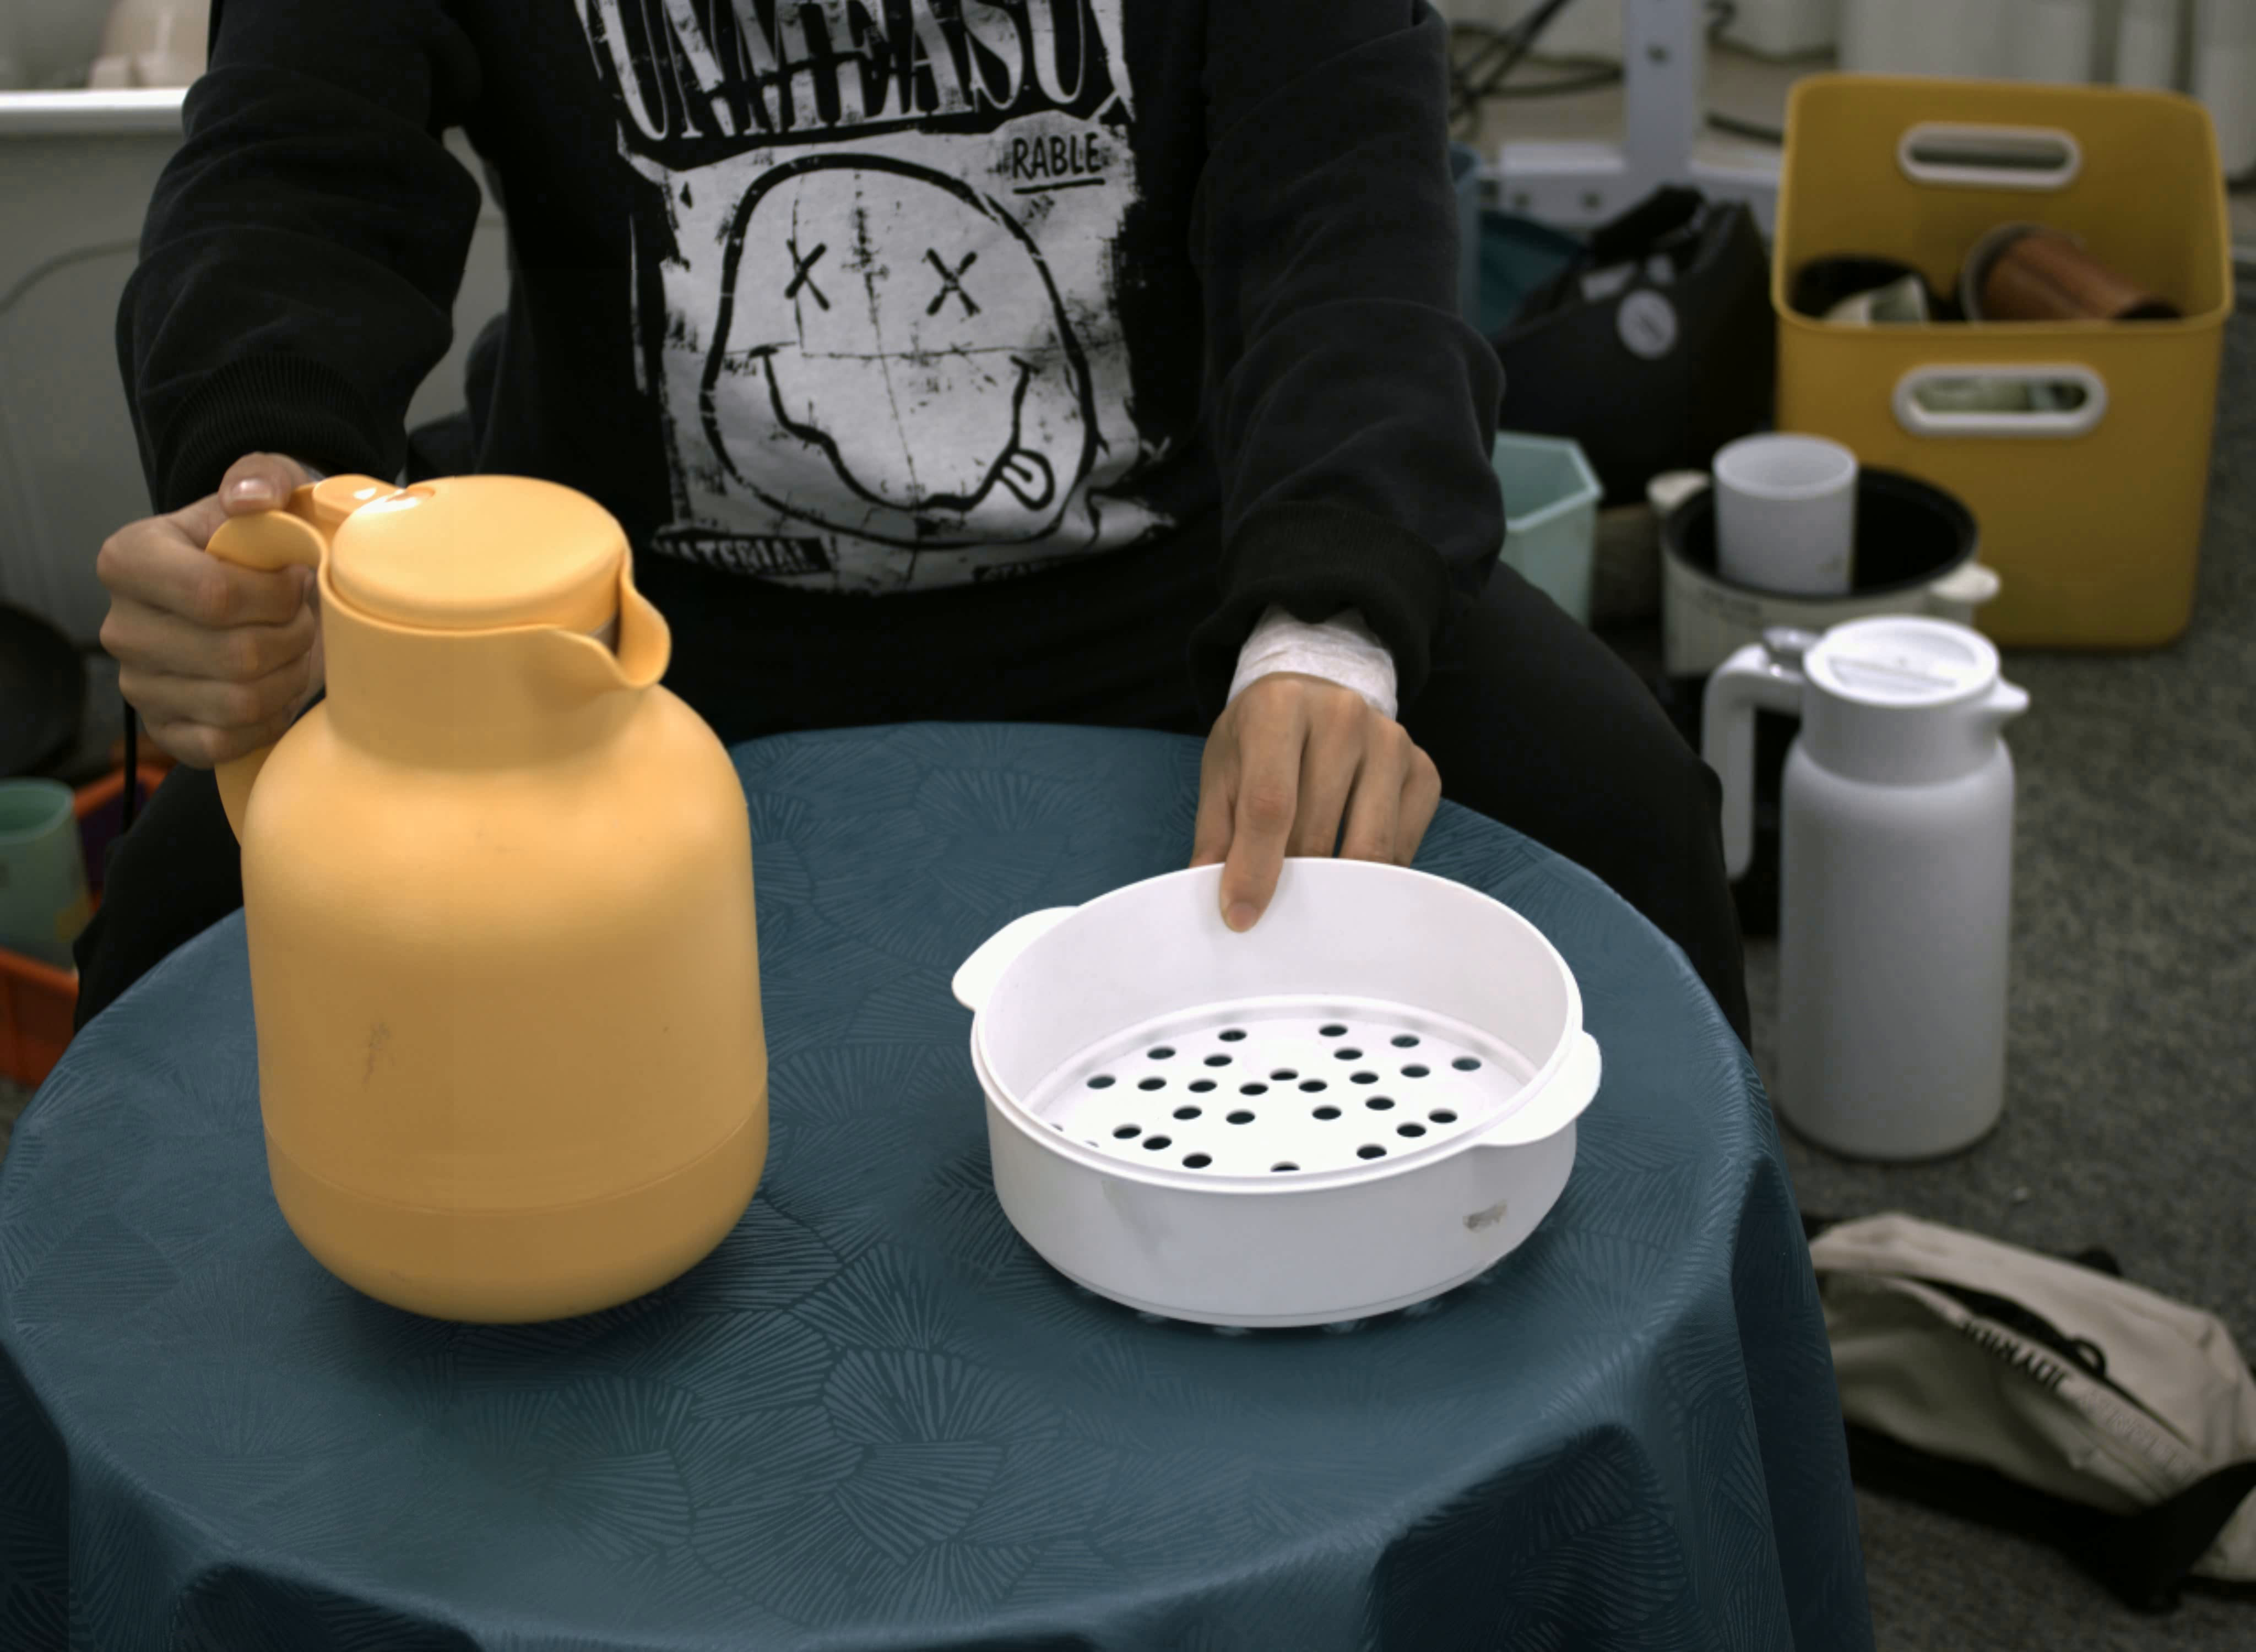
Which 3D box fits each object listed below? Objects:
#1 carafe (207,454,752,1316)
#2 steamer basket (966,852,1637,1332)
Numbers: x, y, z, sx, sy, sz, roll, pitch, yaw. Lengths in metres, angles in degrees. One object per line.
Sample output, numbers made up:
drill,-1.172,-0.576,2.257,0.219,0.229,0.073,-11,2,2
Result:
carafe,-0.213,0.008,1.788,0.202,0.257,0.165,24,33,35
steamer basket,0.055,0.087,1.838,0.229,0.068,0.205,16,34,26
